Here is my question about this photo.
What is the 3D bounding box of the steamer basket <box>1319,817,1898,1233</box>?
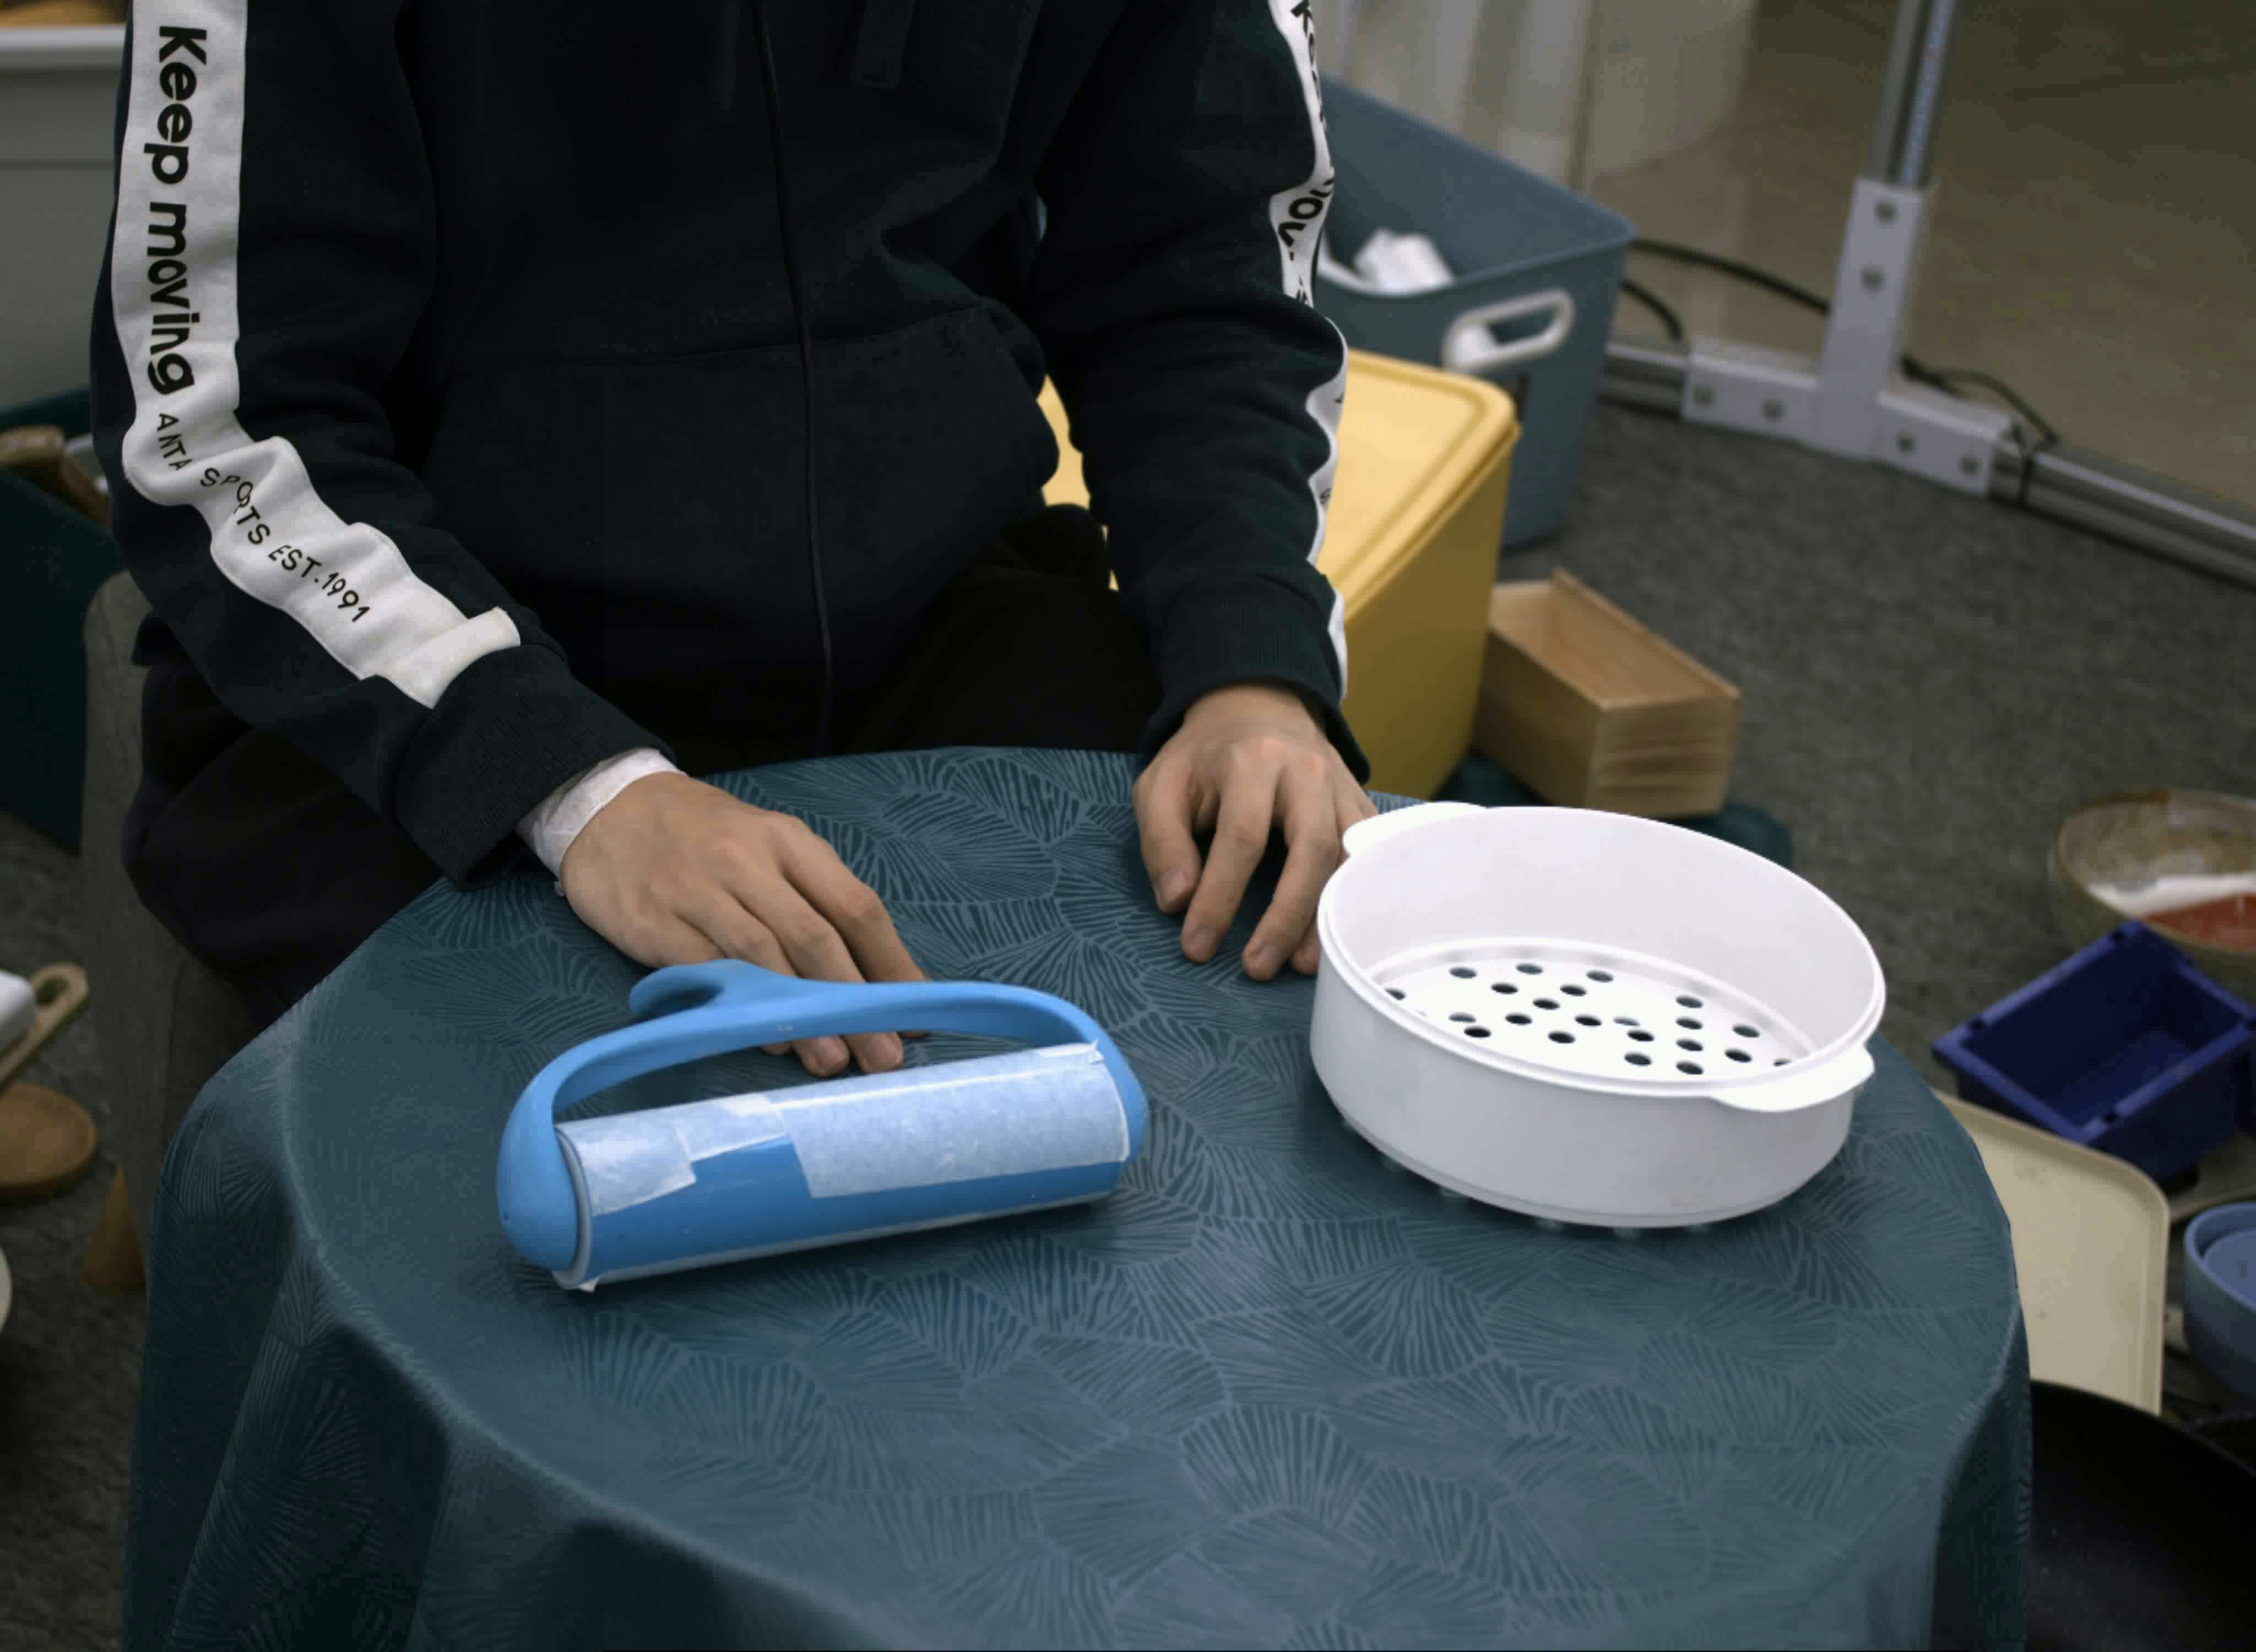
[{"bbox_3d":[0.165,0.070,1.865,0.200,0.069,0.232,-14,32,-36],"label":"steamer basket"}]

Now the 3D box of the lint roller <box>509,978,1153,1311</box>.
[{"bbox_3d":[-0.124,0.086,1.785,0.227,0.067,0.182,-12,33,-28],"label":"lint roller"}]
